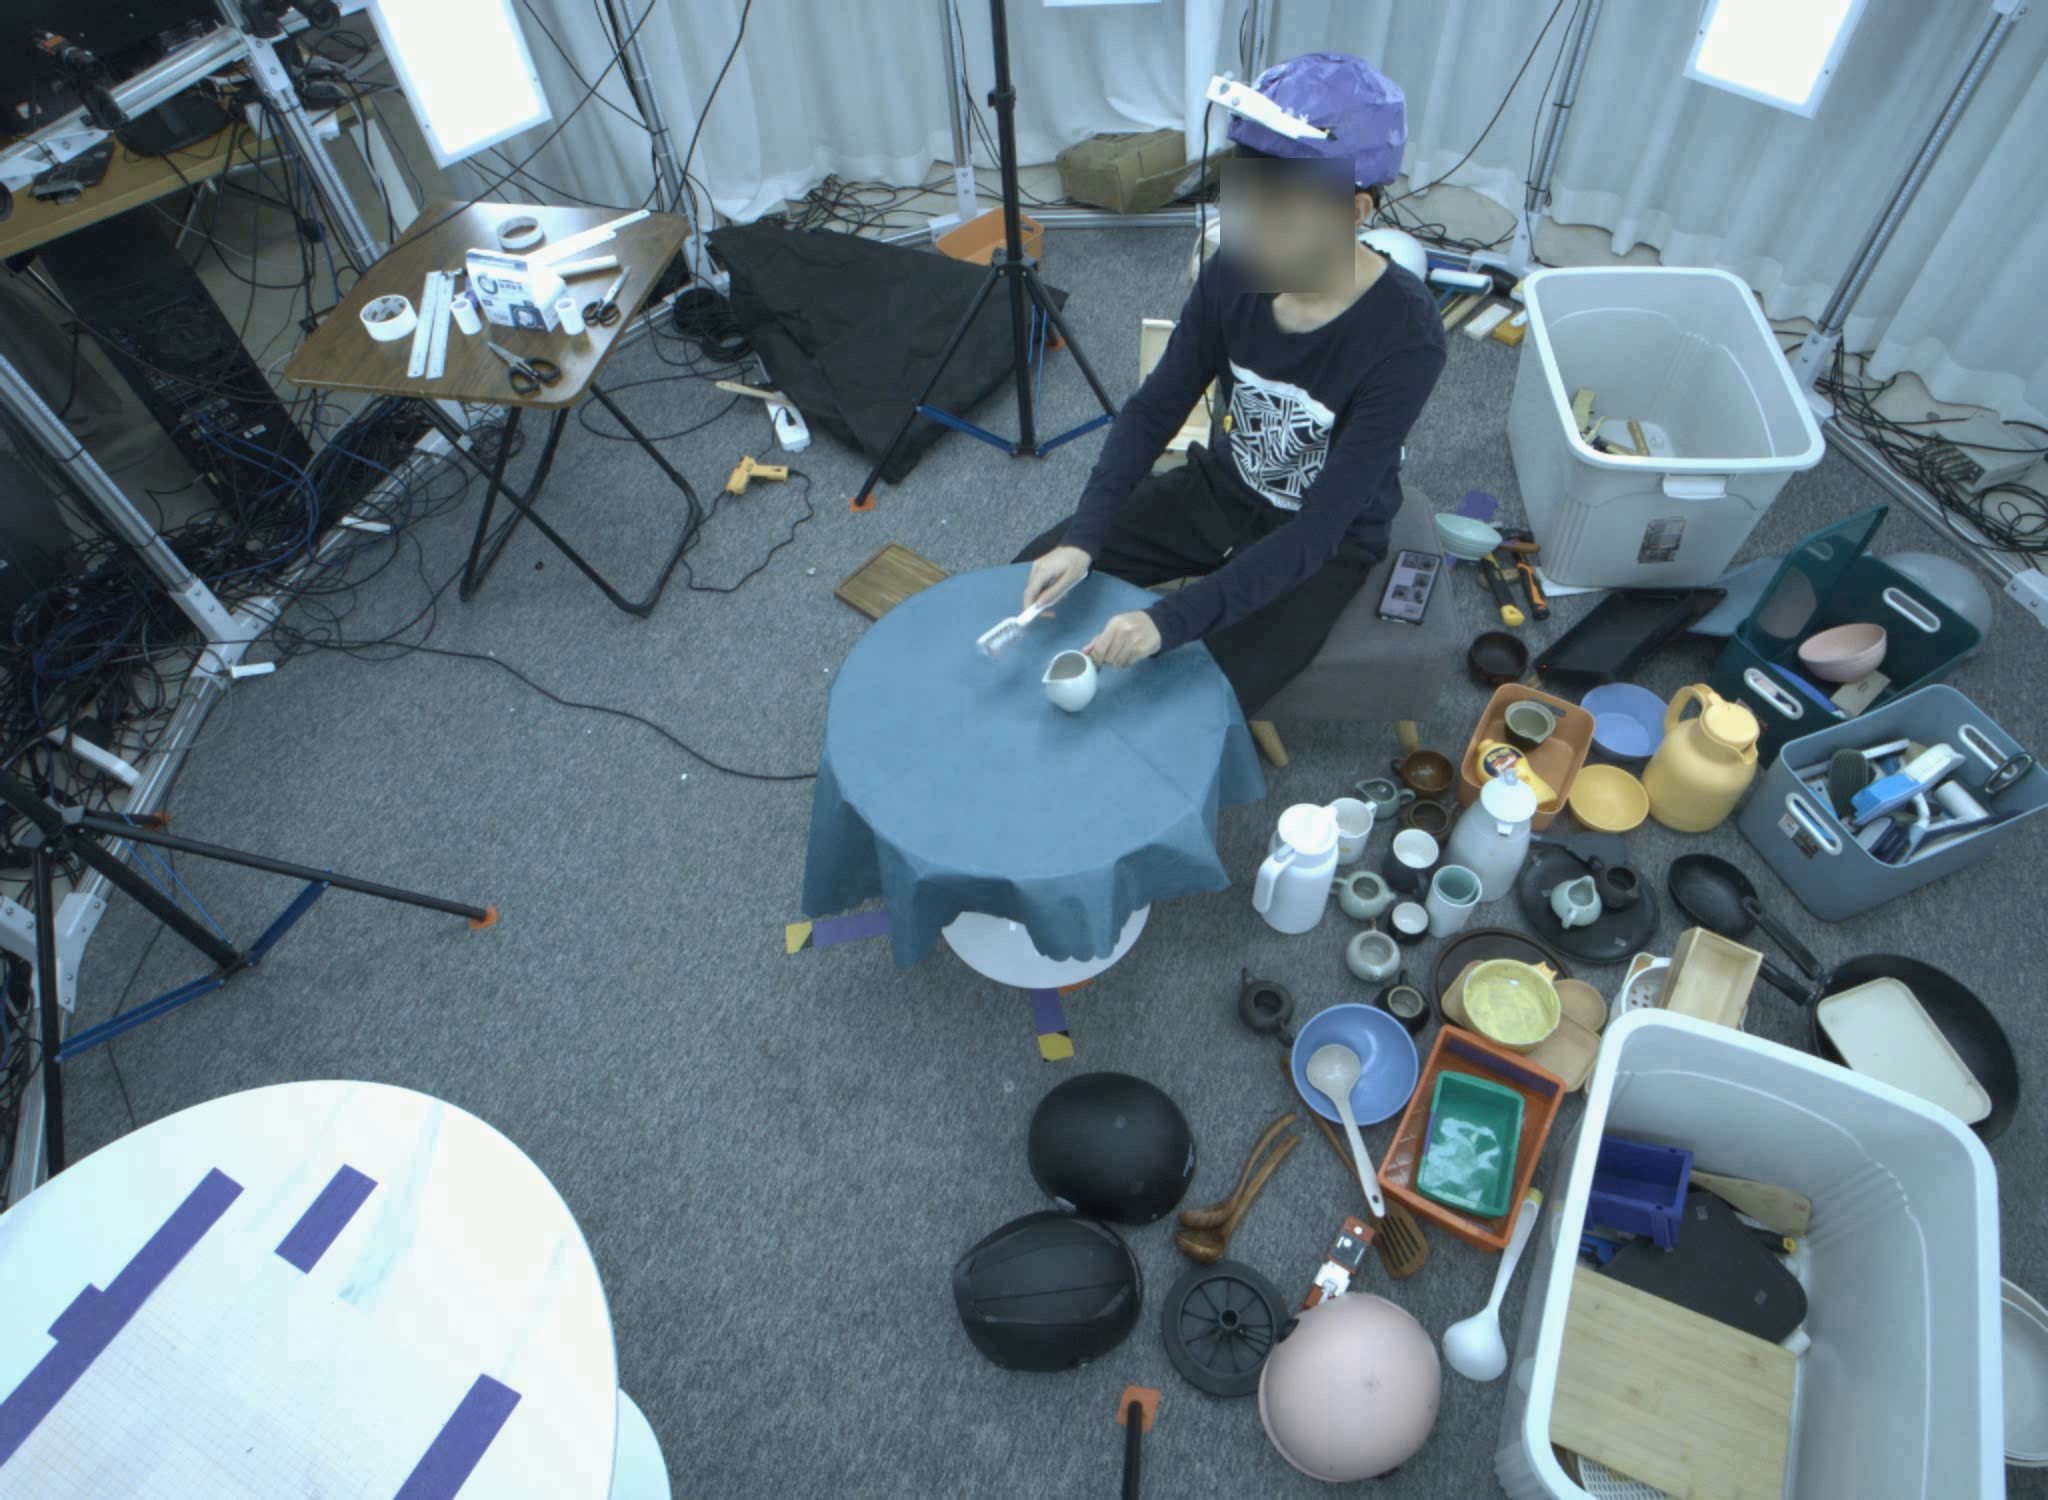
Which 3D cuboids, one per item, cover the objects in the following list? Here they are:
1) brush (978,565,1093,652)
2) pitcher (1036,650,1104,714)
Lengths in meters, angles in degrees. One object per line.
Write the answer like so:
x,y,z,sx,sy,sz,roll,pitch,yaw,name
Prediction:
0.025,-0.219,1.848,0.246,0.049,0.034,-37,98,-26,brush
0.069,-0.098,1.791,0.120,0.089,0.074,-34,64,-12,pitcher
